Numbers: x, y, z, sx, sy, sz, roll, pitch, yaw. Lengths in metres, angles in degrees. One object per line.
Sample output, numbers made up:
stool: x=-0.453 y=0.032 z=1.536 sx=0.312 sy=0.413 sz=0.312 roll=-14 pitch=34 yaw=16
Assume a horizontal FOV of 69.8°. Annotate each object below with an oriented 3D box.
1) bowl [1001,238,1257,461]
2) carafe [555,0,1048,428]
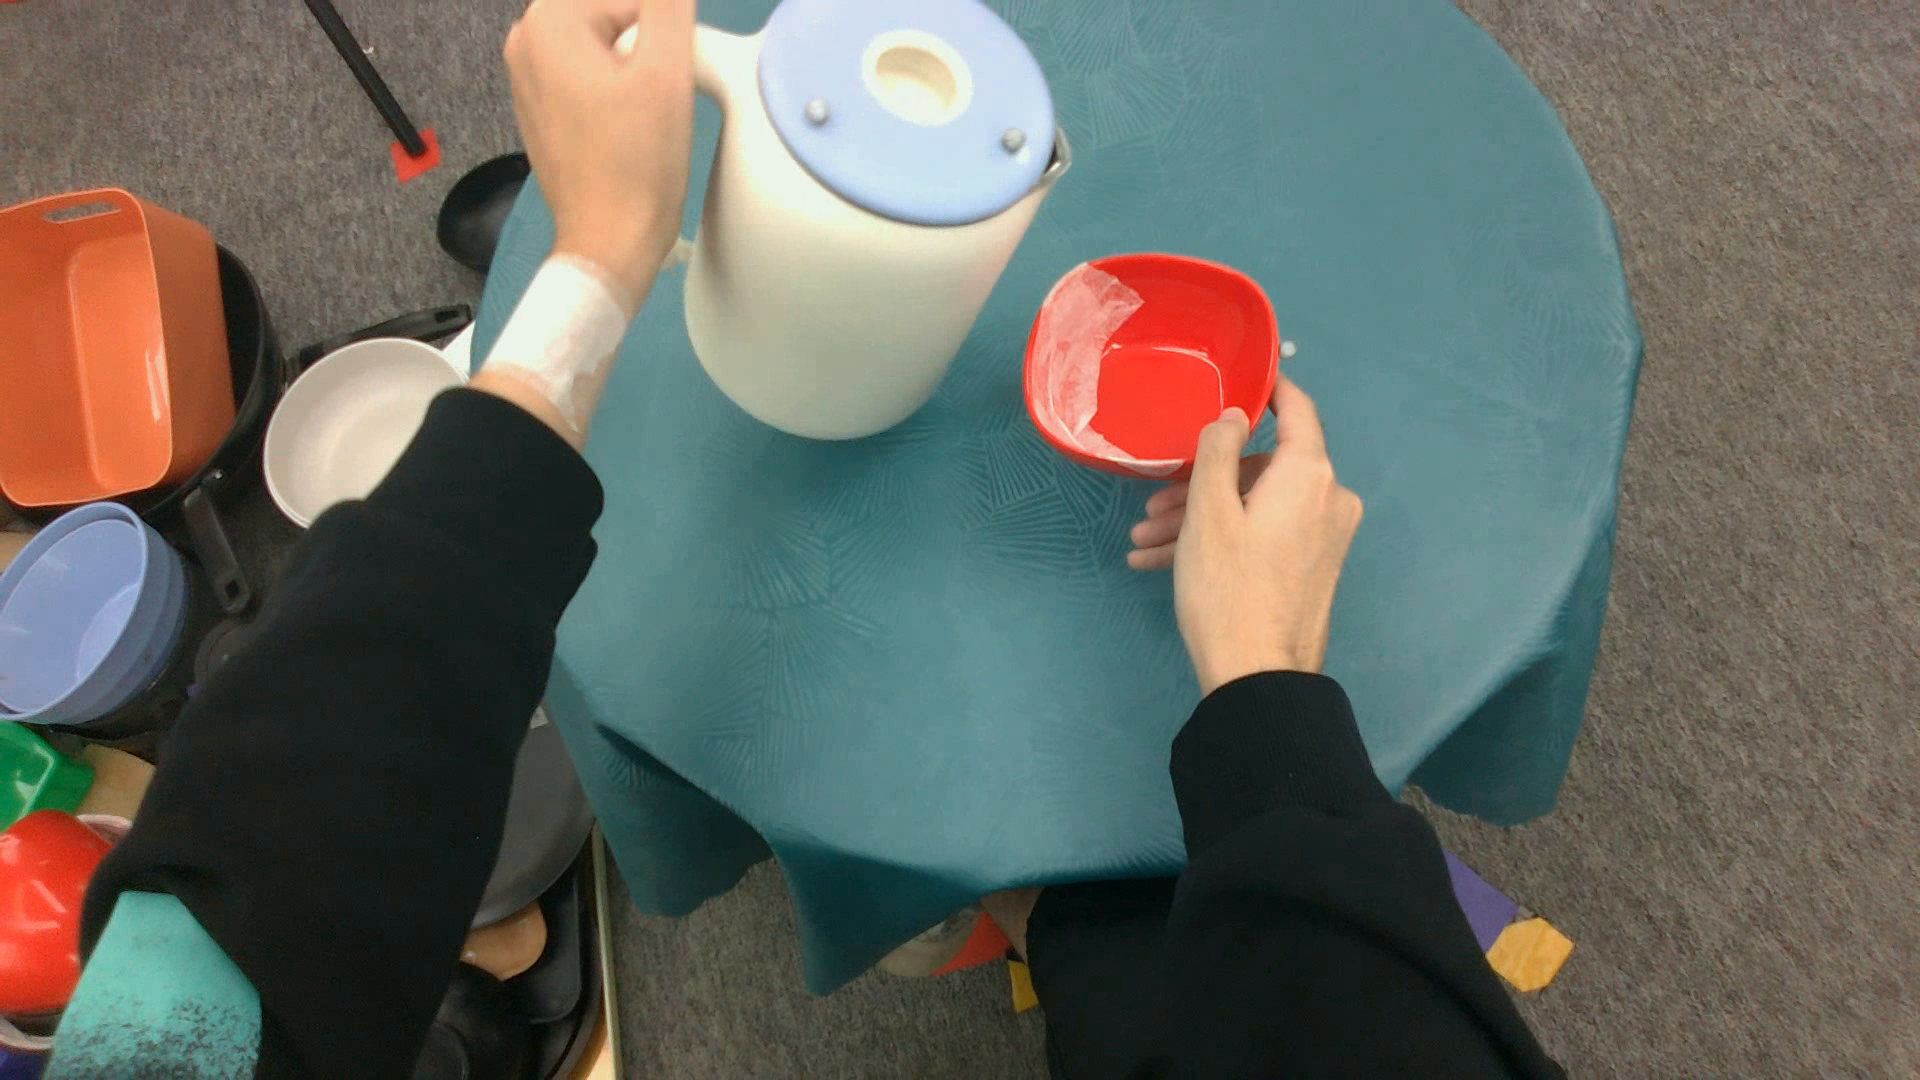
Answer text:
bowl: x=0.076 y=-0.078 z=0.624 sx=0.119 sy=0.051 sz=0.119 roll=-2 pitch=61 yaw=4
carafe: x=-0.077 y=-0.149 z=0.595 sx=0.191 sy=0.181 sz=0.133 roll=14 pitch=61 yaw=-11
